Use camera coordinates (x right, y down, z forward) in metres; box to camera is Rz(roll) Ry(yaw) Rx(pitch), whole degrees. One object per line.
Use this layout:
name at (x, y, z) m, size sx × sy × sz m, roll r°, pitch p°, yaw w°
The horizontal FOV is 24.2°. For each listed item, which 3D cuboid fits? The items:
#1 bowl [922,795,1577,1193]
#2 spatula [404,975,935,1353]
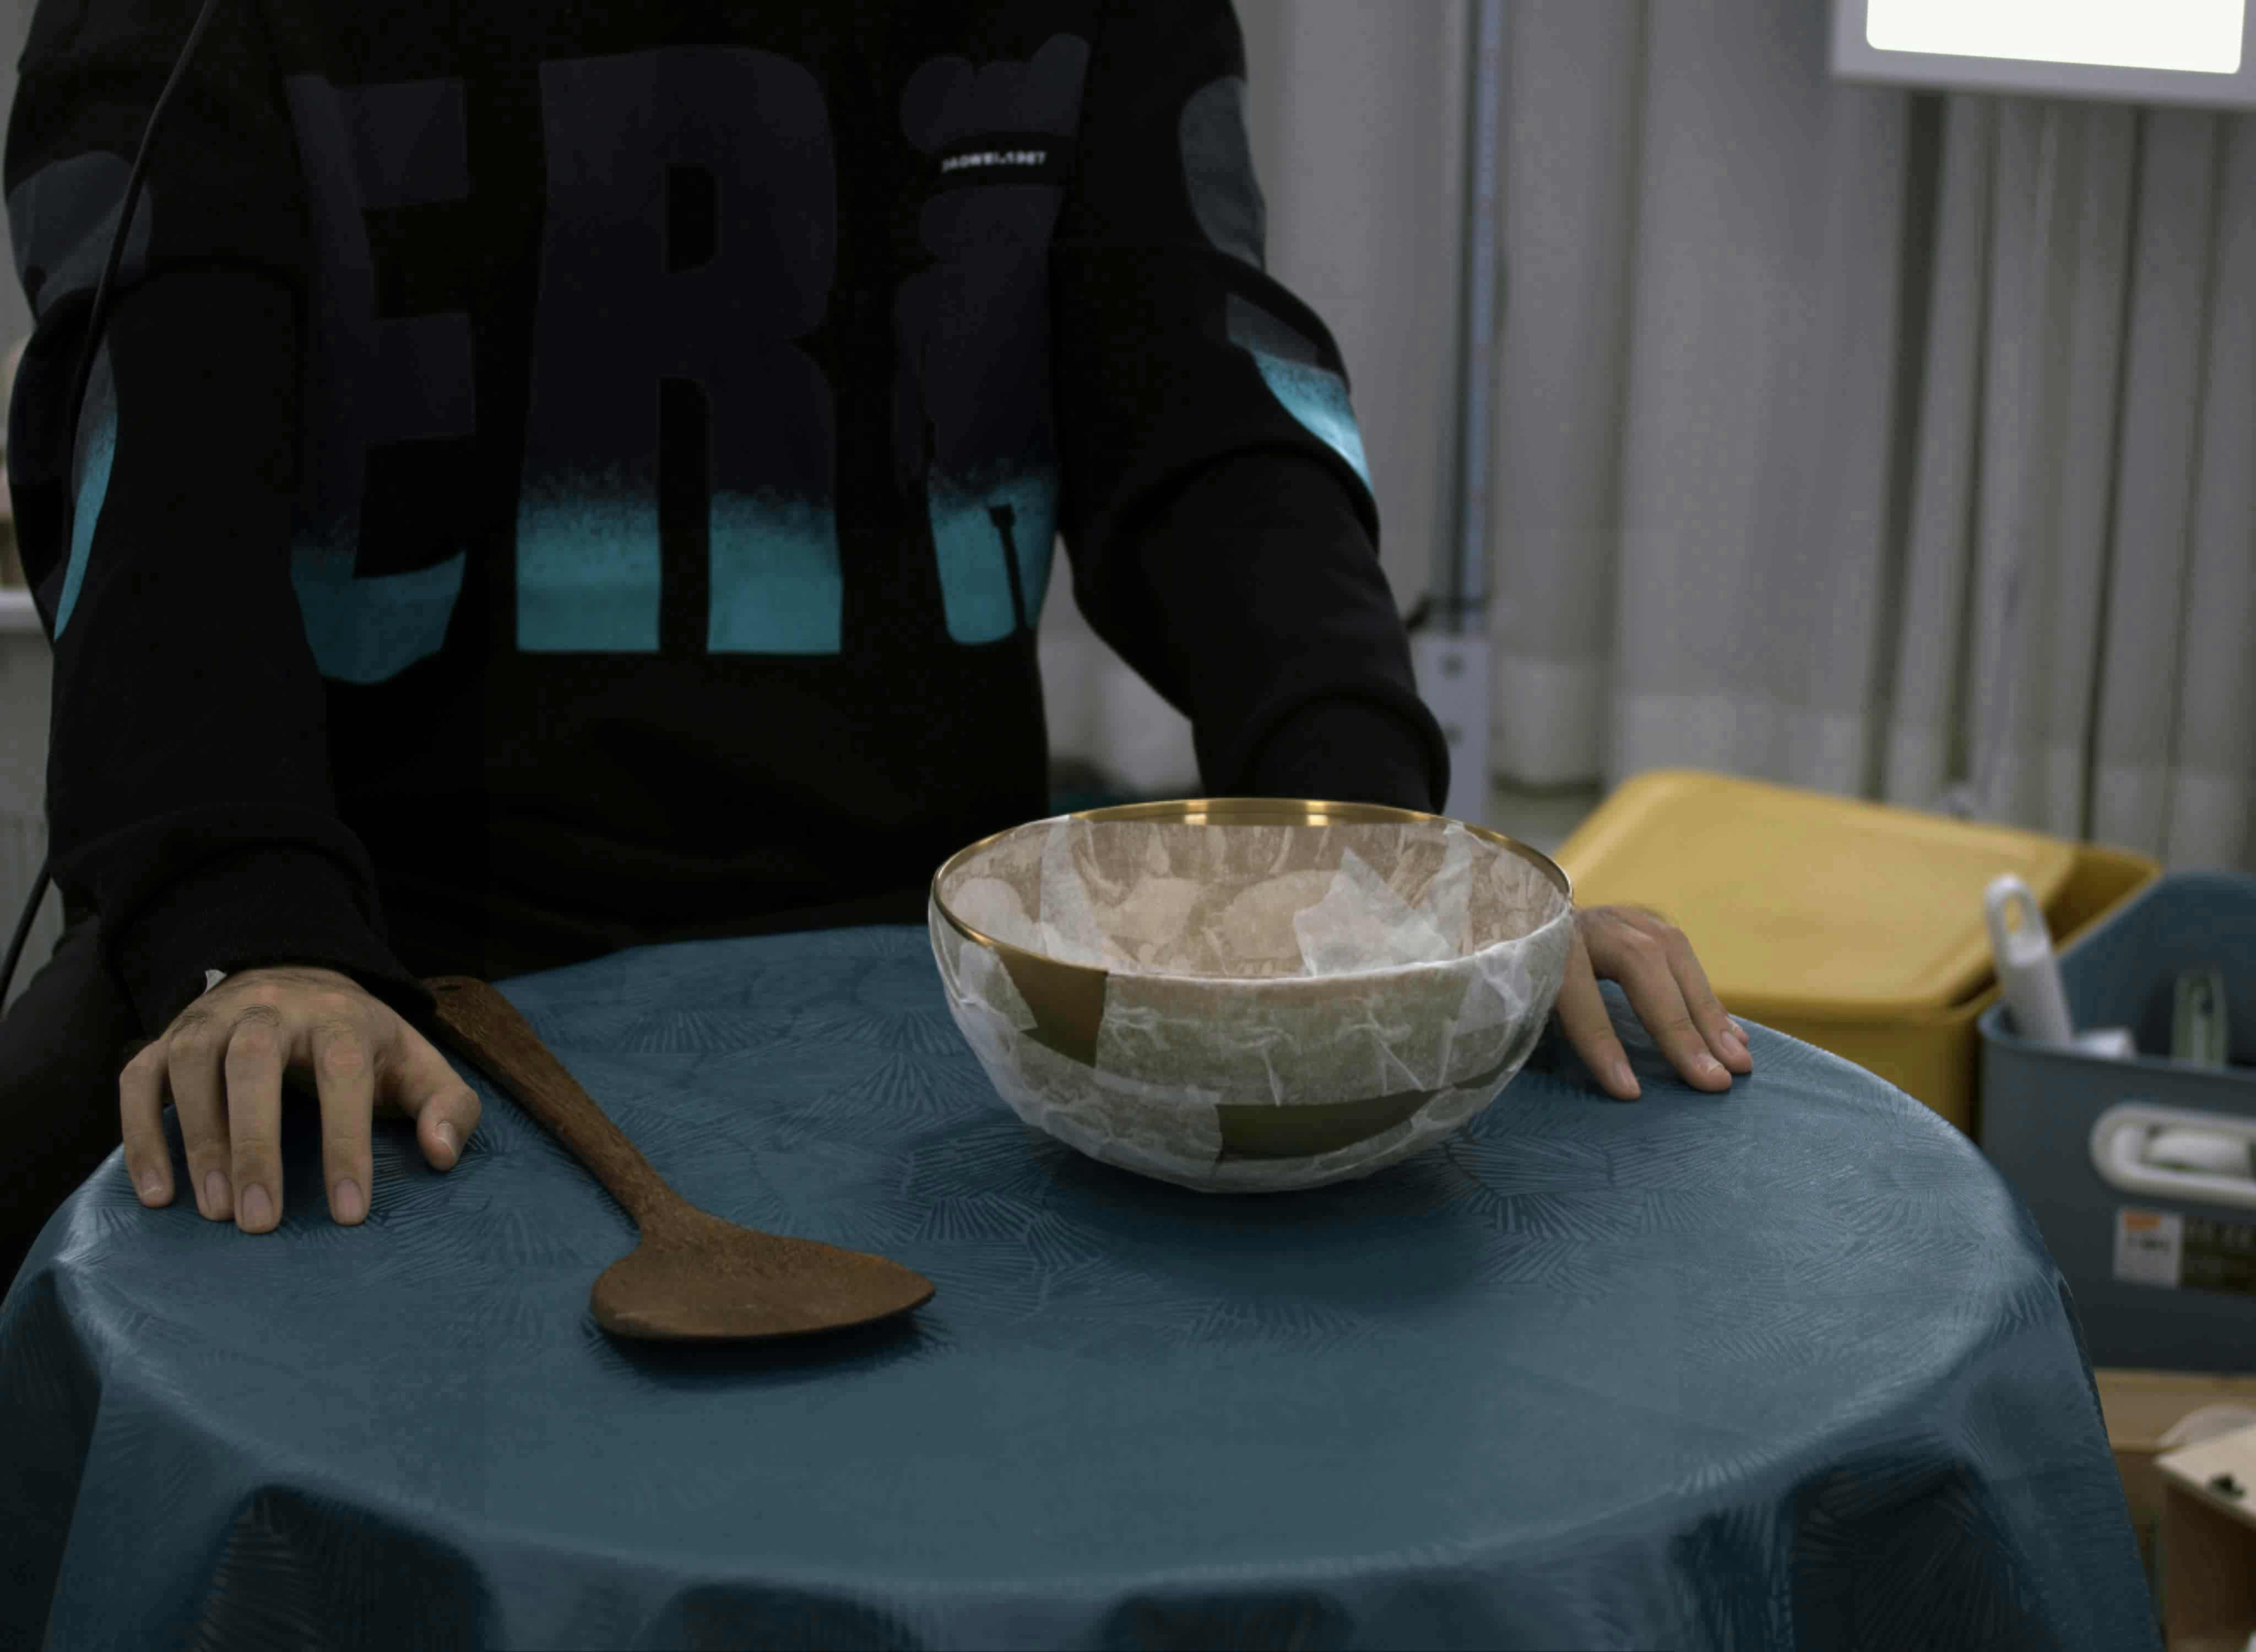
bowl at (0.040, 0.059, 1.646) m, size 0.214 × 0.095 × 0.213 m, roll -1°, pitch 15°, yaw 1°
spatula at (-0.165, 0.099, 1.643) m, size 0.096 × 0.016 × 0.381 m, roll -6°, pitch 17°, yaw -22°
